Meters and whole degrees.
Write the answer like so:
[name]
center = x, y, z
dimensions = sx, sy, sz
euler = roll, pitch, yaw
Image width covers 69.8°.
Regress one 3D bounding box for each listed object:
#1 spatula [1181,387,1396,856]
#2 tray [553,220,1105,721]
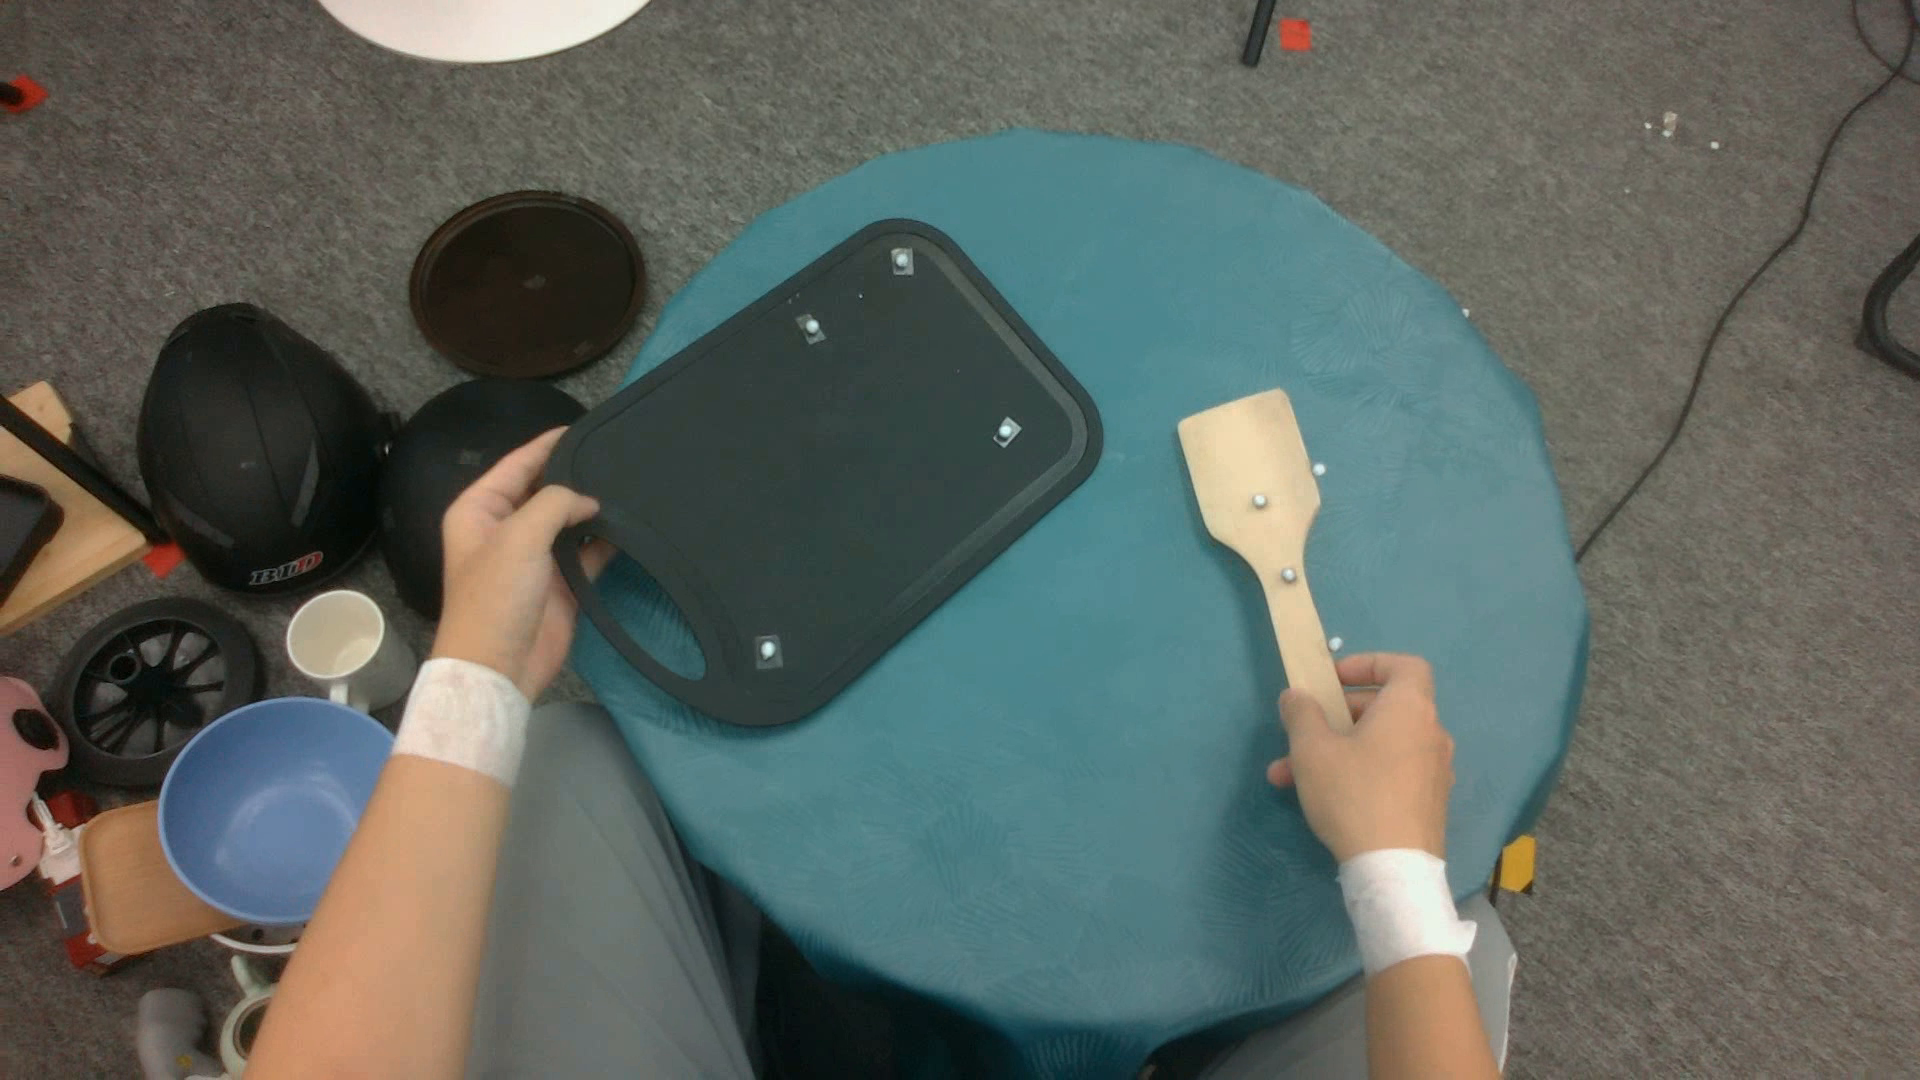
[spatula]
center = 0.196, 0.039, 0.794
dimensions = 0.072, 0.010, 0.294
euler = -18, 60, 13
[tray]
center = -0.074, -0.046, 0.817
dimensions = 0.326, 0.010, 0.211
euler = -40, 86, -22
